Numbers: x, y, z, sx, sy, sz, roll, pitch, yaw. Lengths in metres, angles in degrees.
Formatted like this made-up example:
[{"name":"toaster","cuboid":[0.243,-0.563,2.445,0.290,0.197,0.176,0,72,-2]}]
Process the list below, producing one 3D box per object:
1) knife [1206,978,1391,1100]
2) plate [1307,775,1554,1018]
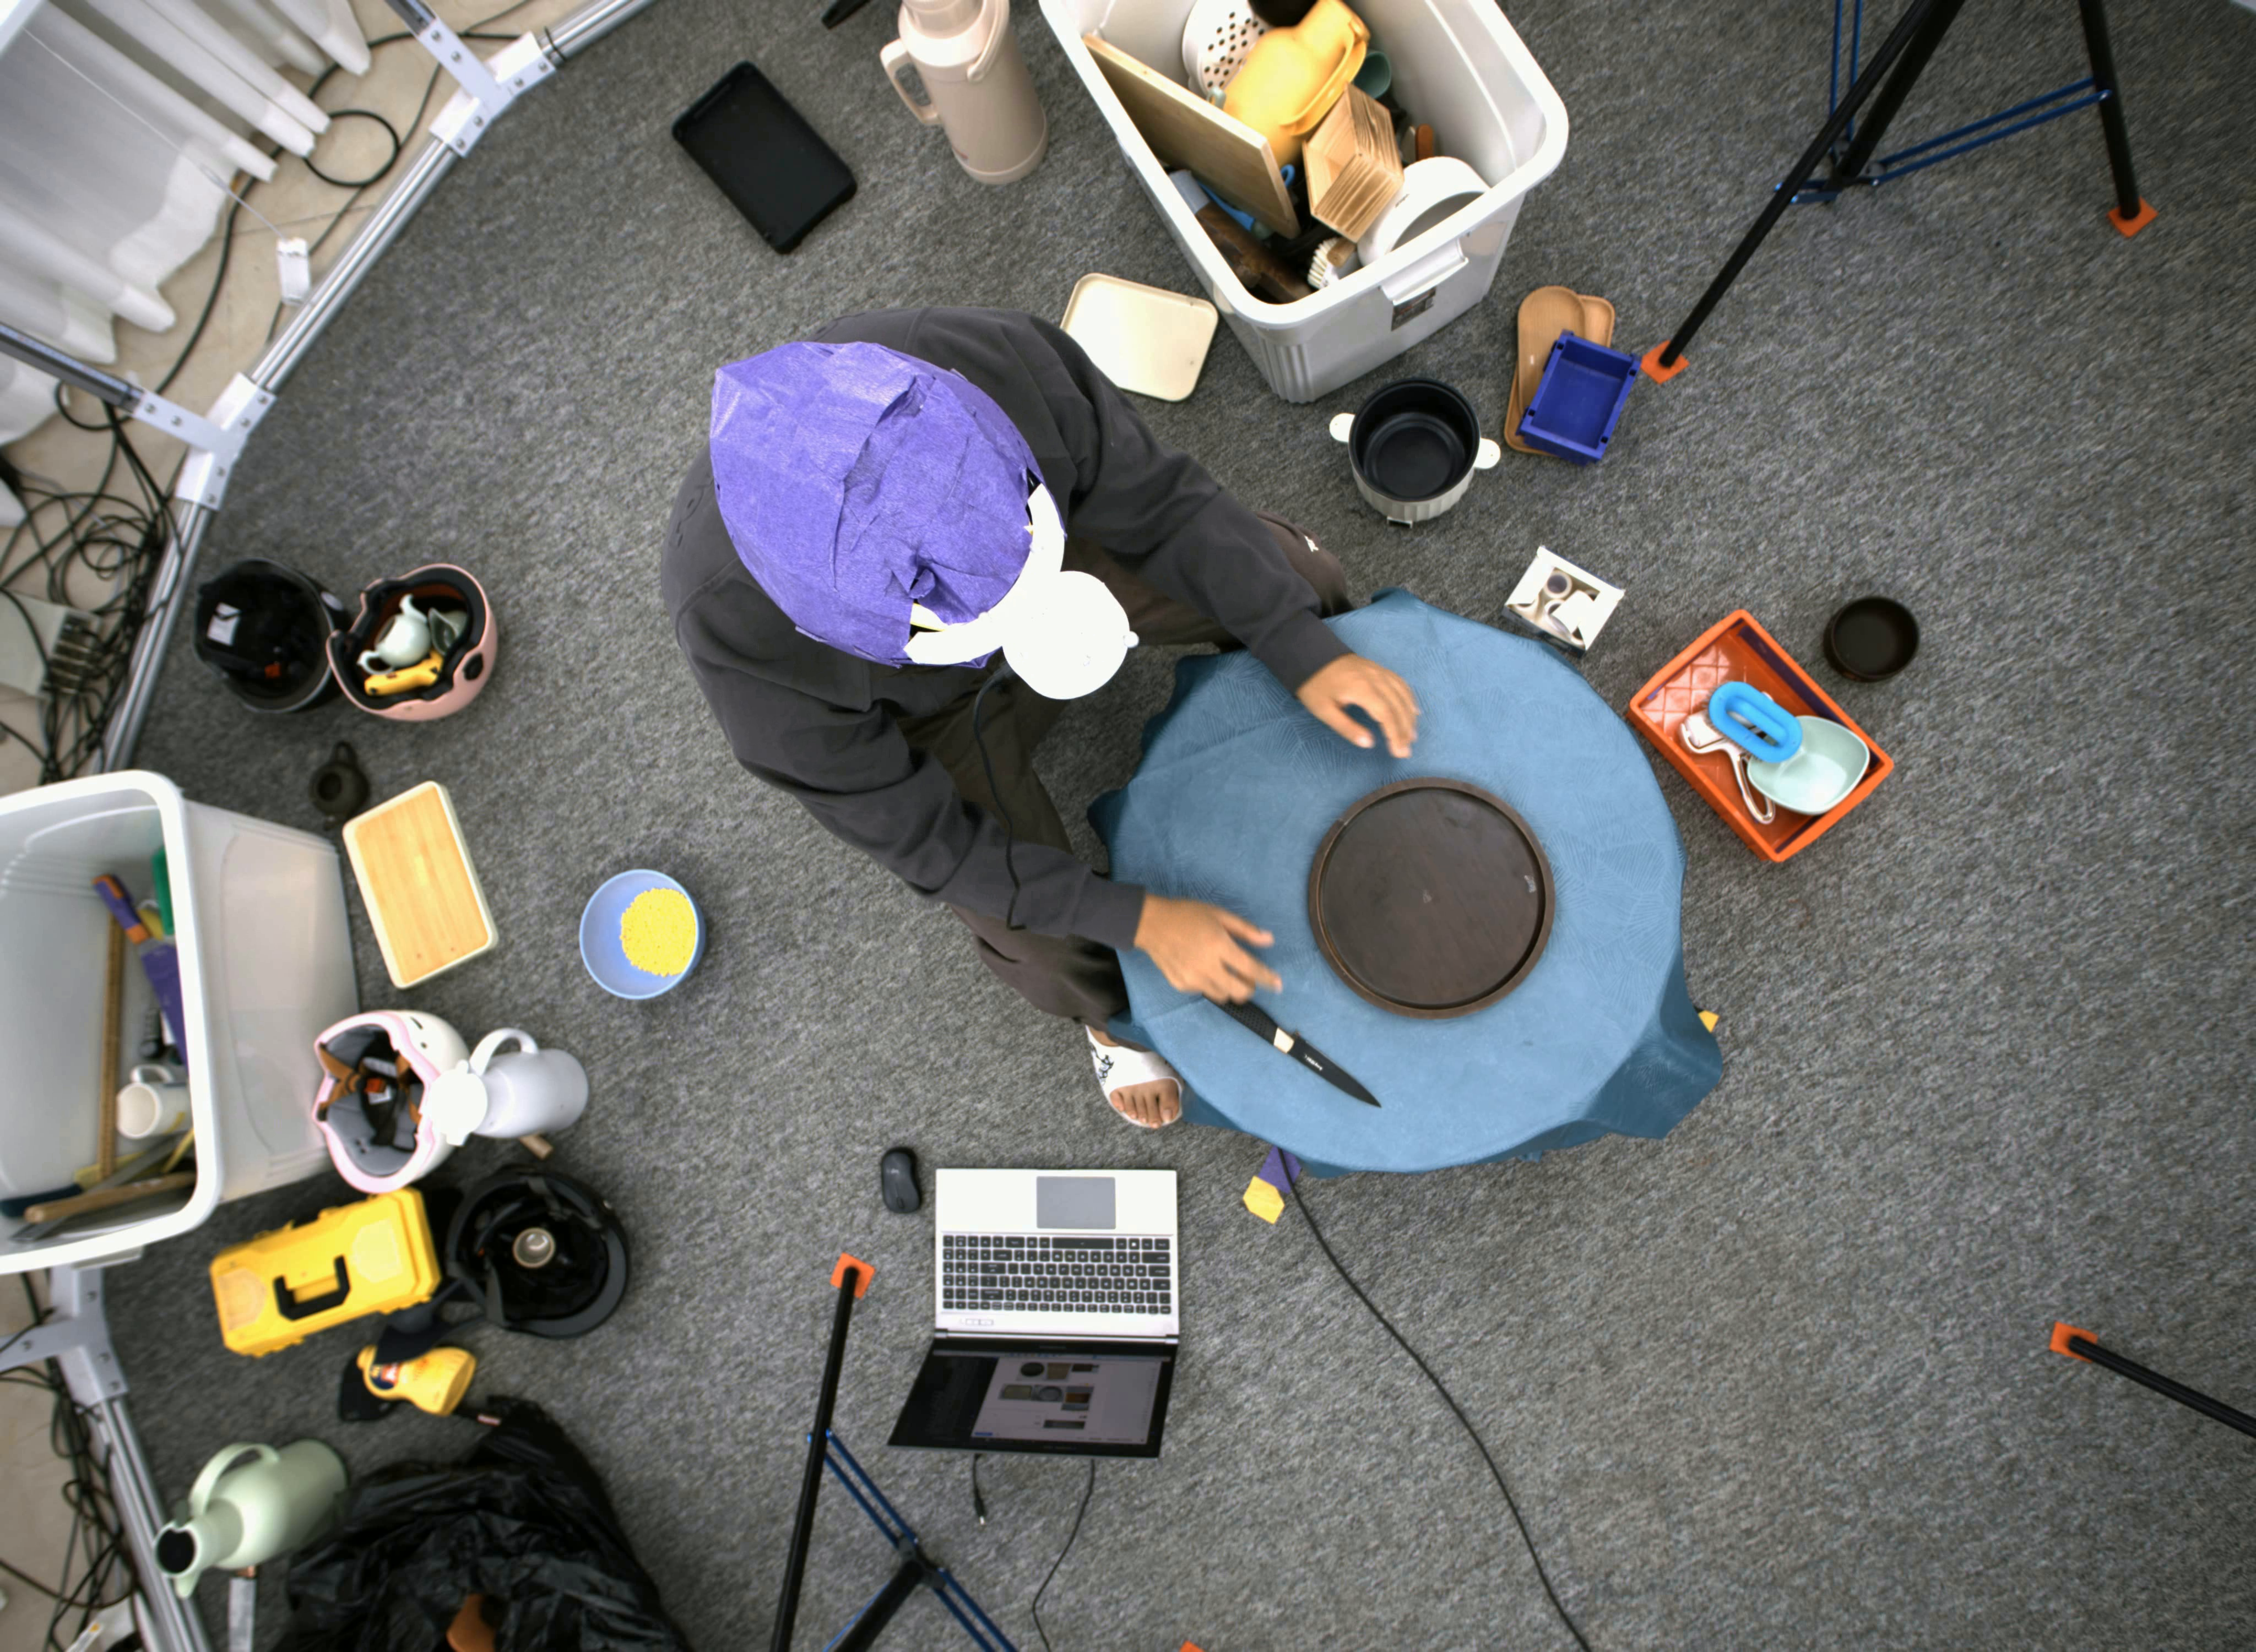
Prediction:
[{"name":"knife","cuboid":[0.179,0.227,1.464,0.225,0.017,0.026,34,87,10]},{"name":"plate","cuboid":[0.315,0.072,1.441,0.256,0.029,0.254,-1,87,12]}]
